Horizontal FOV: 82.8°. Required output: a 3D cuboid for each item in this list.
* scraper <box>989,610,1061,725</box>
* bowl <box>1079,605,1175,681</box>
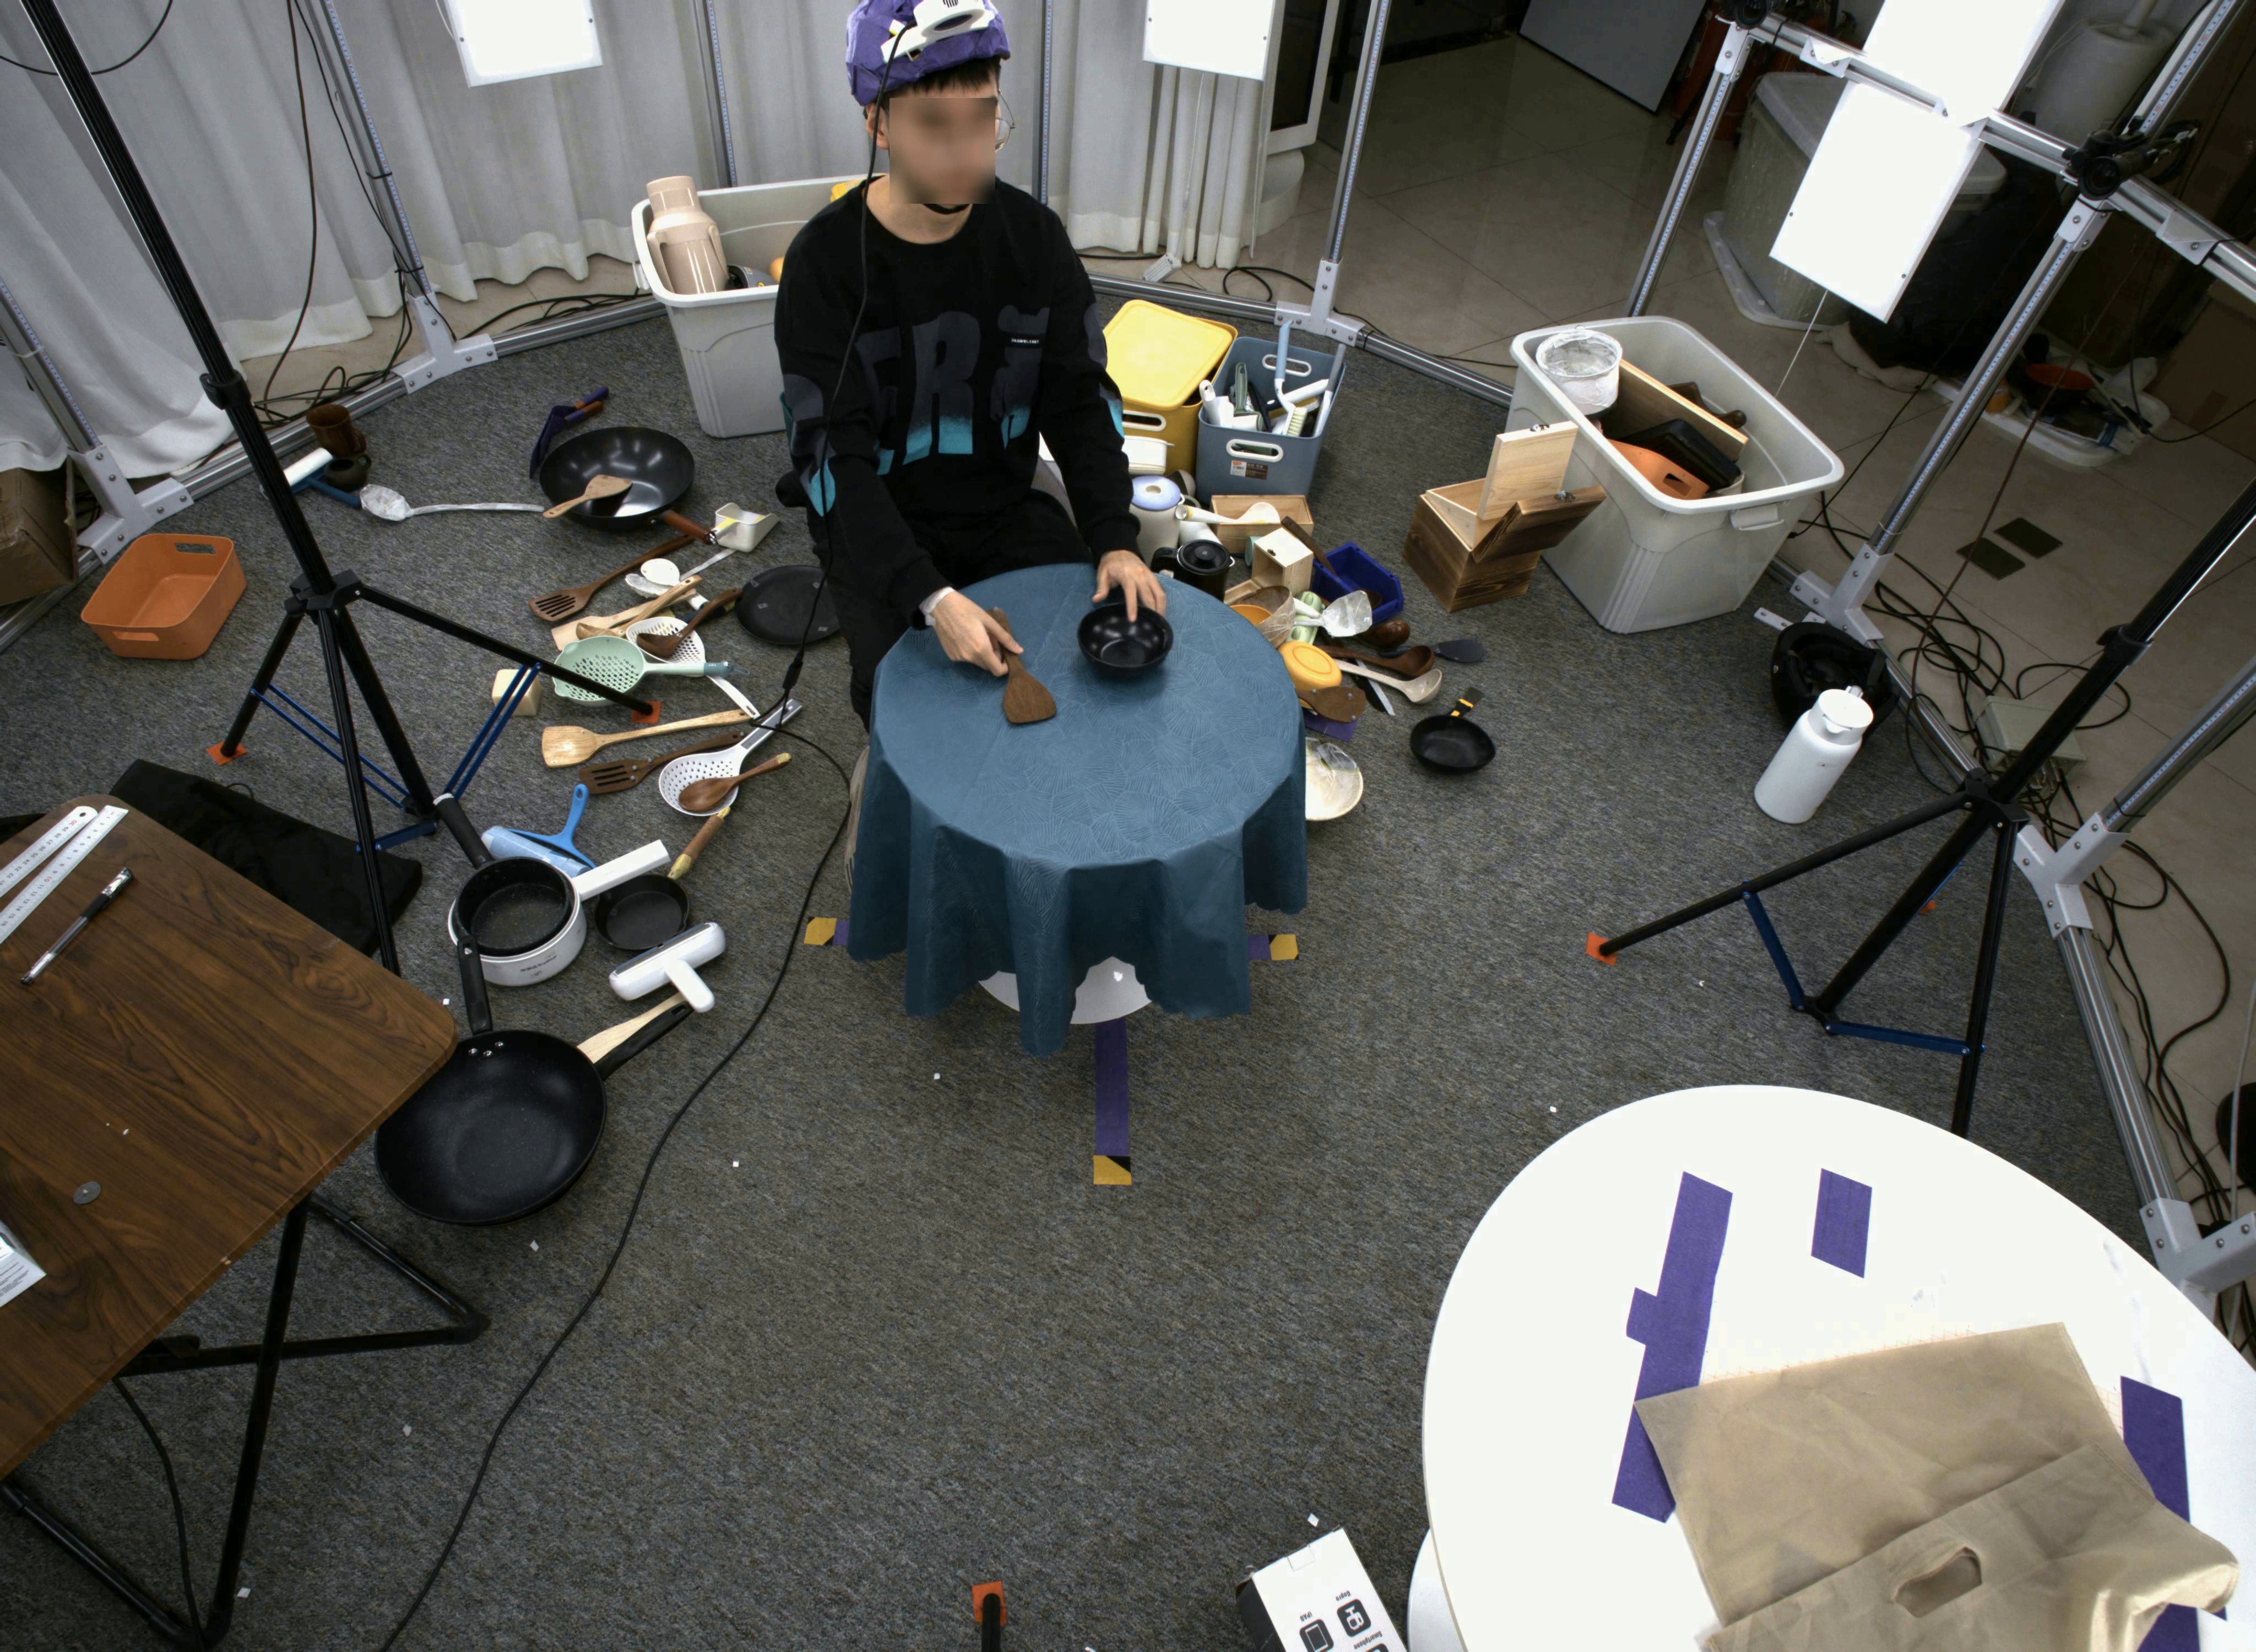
[{"bbox_3d":[-0.160,-0.231,1.853,0.076,0.010,0.216,-11,59,-17],"label":"scraper"},{"bbox_3d":[-0.002,-0.259,1.879,0.140,0.048,0.143,0,50,0],"label":"bowl"}]
